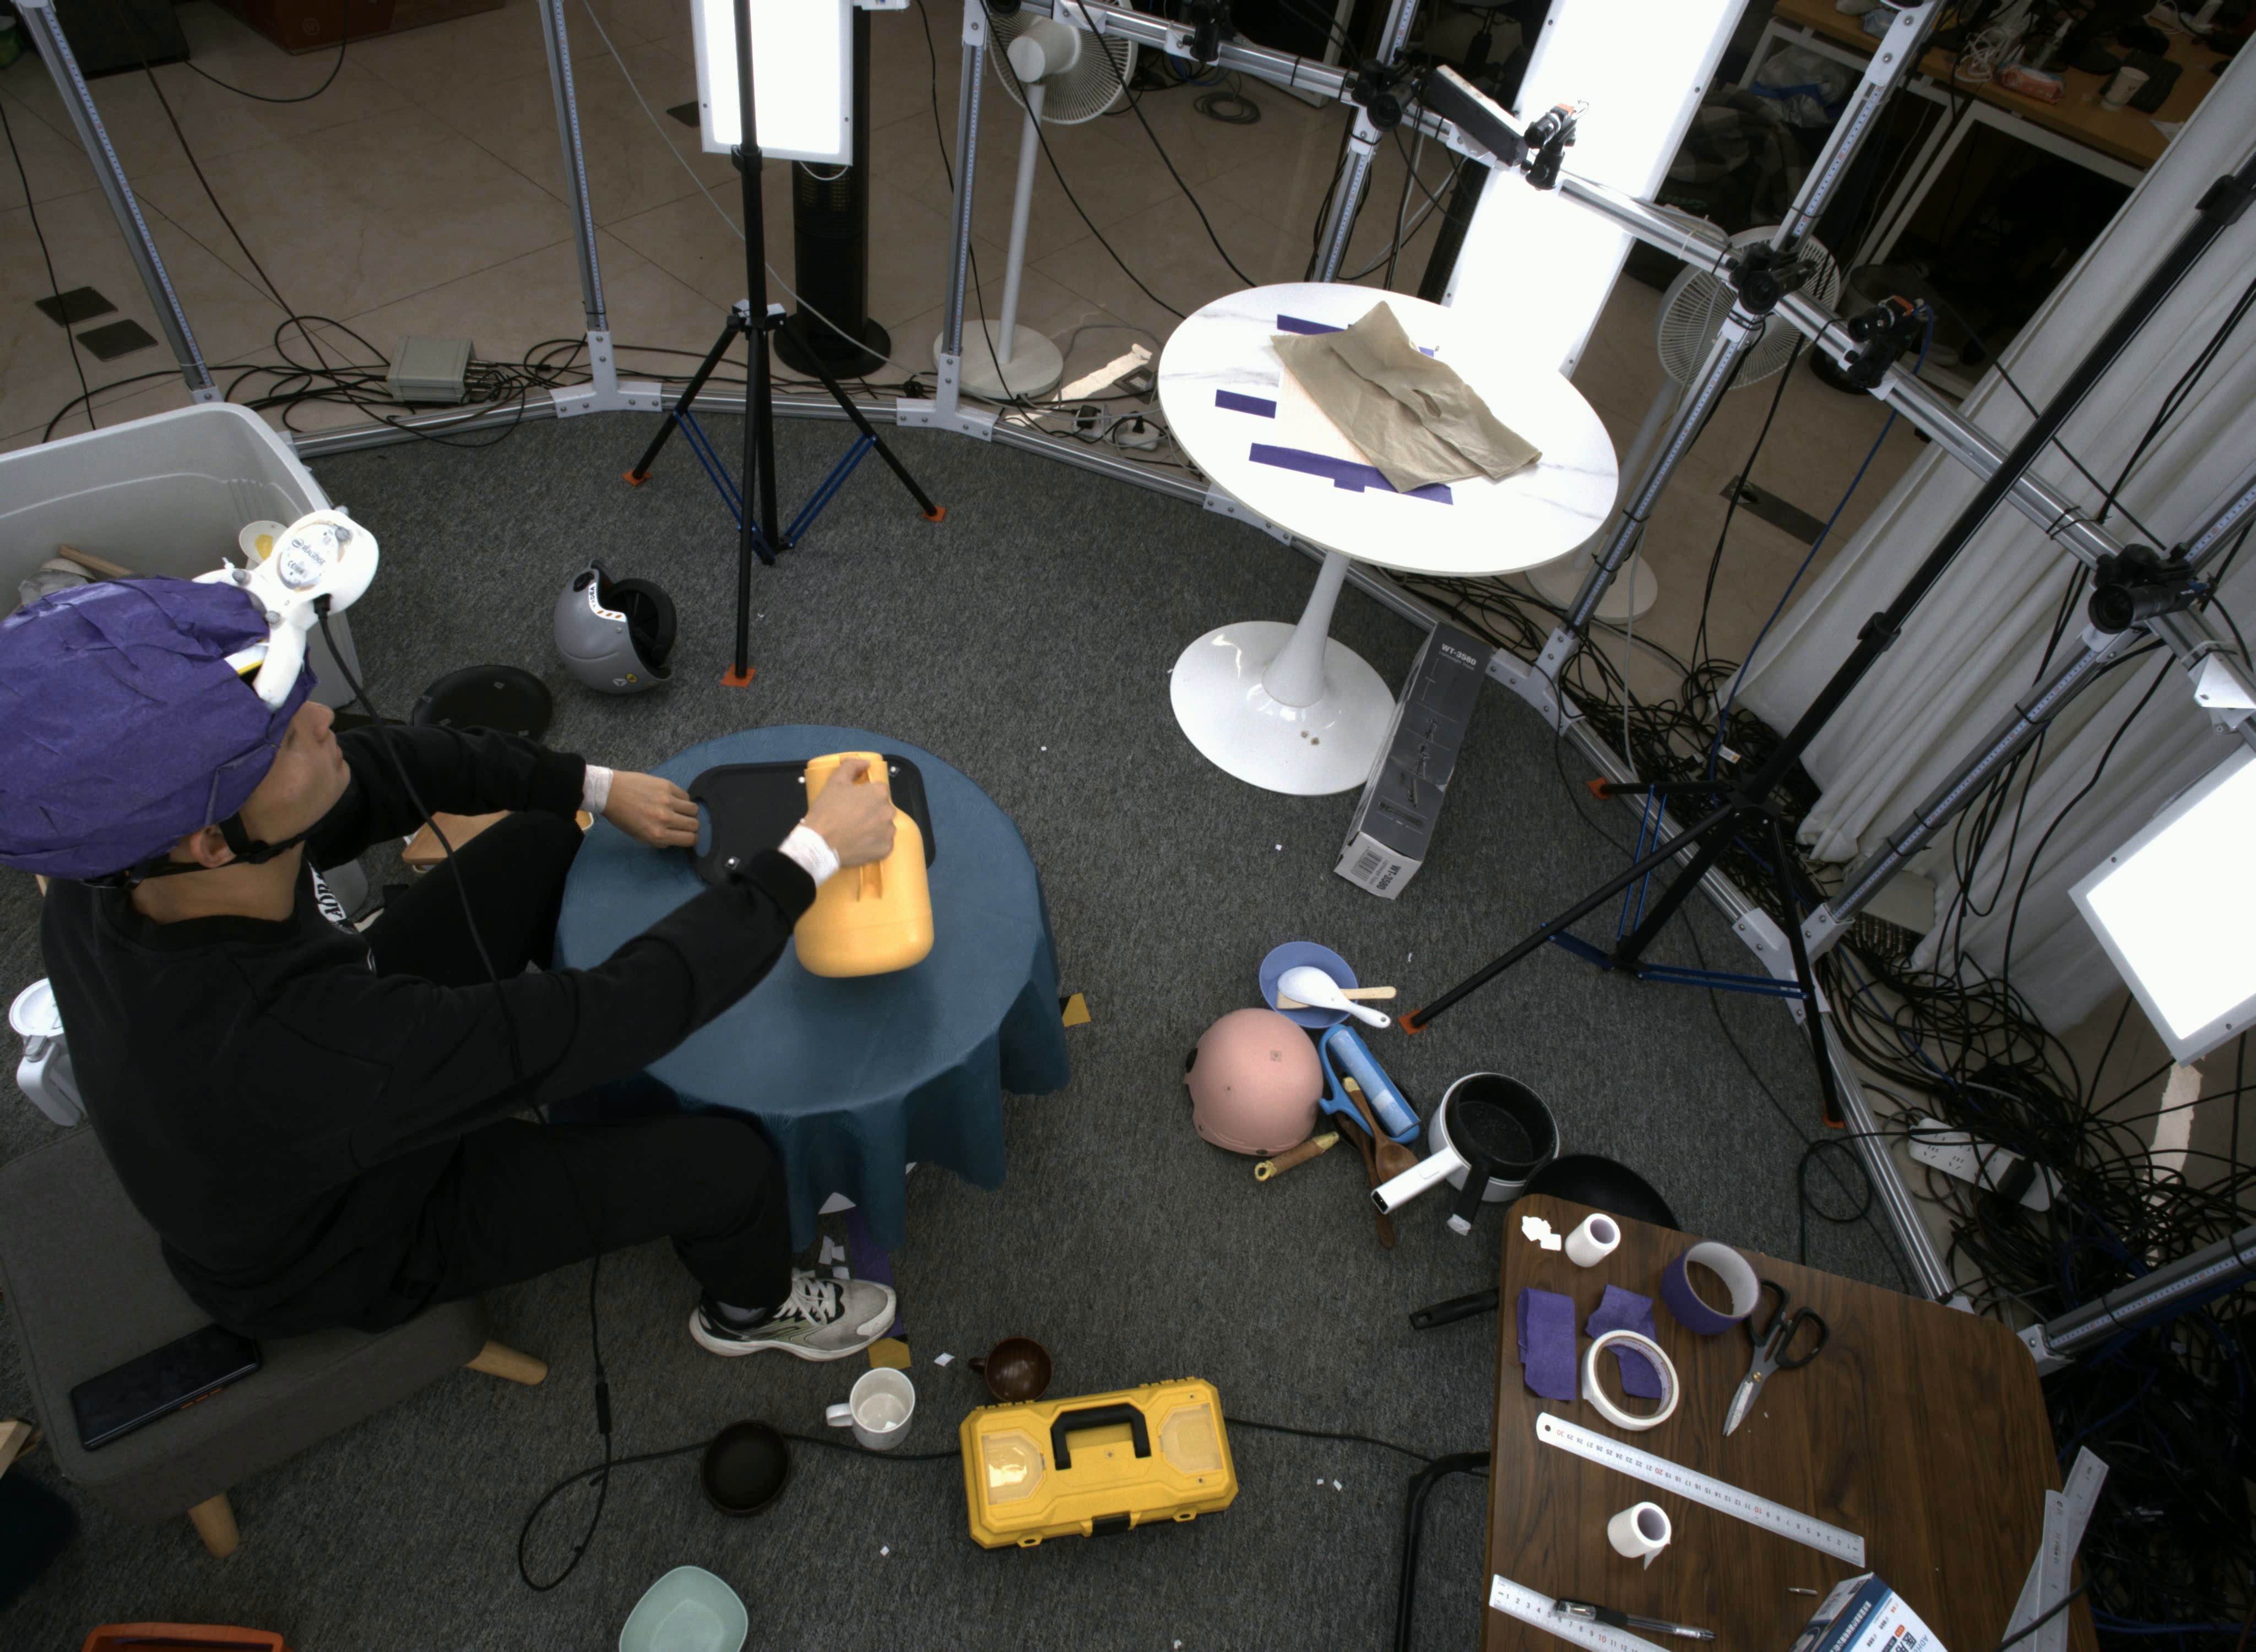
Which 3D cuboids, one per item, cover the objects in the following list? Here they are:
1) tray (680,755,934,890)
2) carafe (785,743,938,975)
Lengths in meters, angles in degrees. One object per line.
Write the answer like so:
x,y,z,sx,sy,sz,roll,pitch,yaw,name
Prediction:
-0.426,-0.010,1.719,0.327,0.010,0.206,-4,54,-19,tray
-0.317,0.035,1.512,0.164,0.199,0.264,-11,92,-16,carafe
